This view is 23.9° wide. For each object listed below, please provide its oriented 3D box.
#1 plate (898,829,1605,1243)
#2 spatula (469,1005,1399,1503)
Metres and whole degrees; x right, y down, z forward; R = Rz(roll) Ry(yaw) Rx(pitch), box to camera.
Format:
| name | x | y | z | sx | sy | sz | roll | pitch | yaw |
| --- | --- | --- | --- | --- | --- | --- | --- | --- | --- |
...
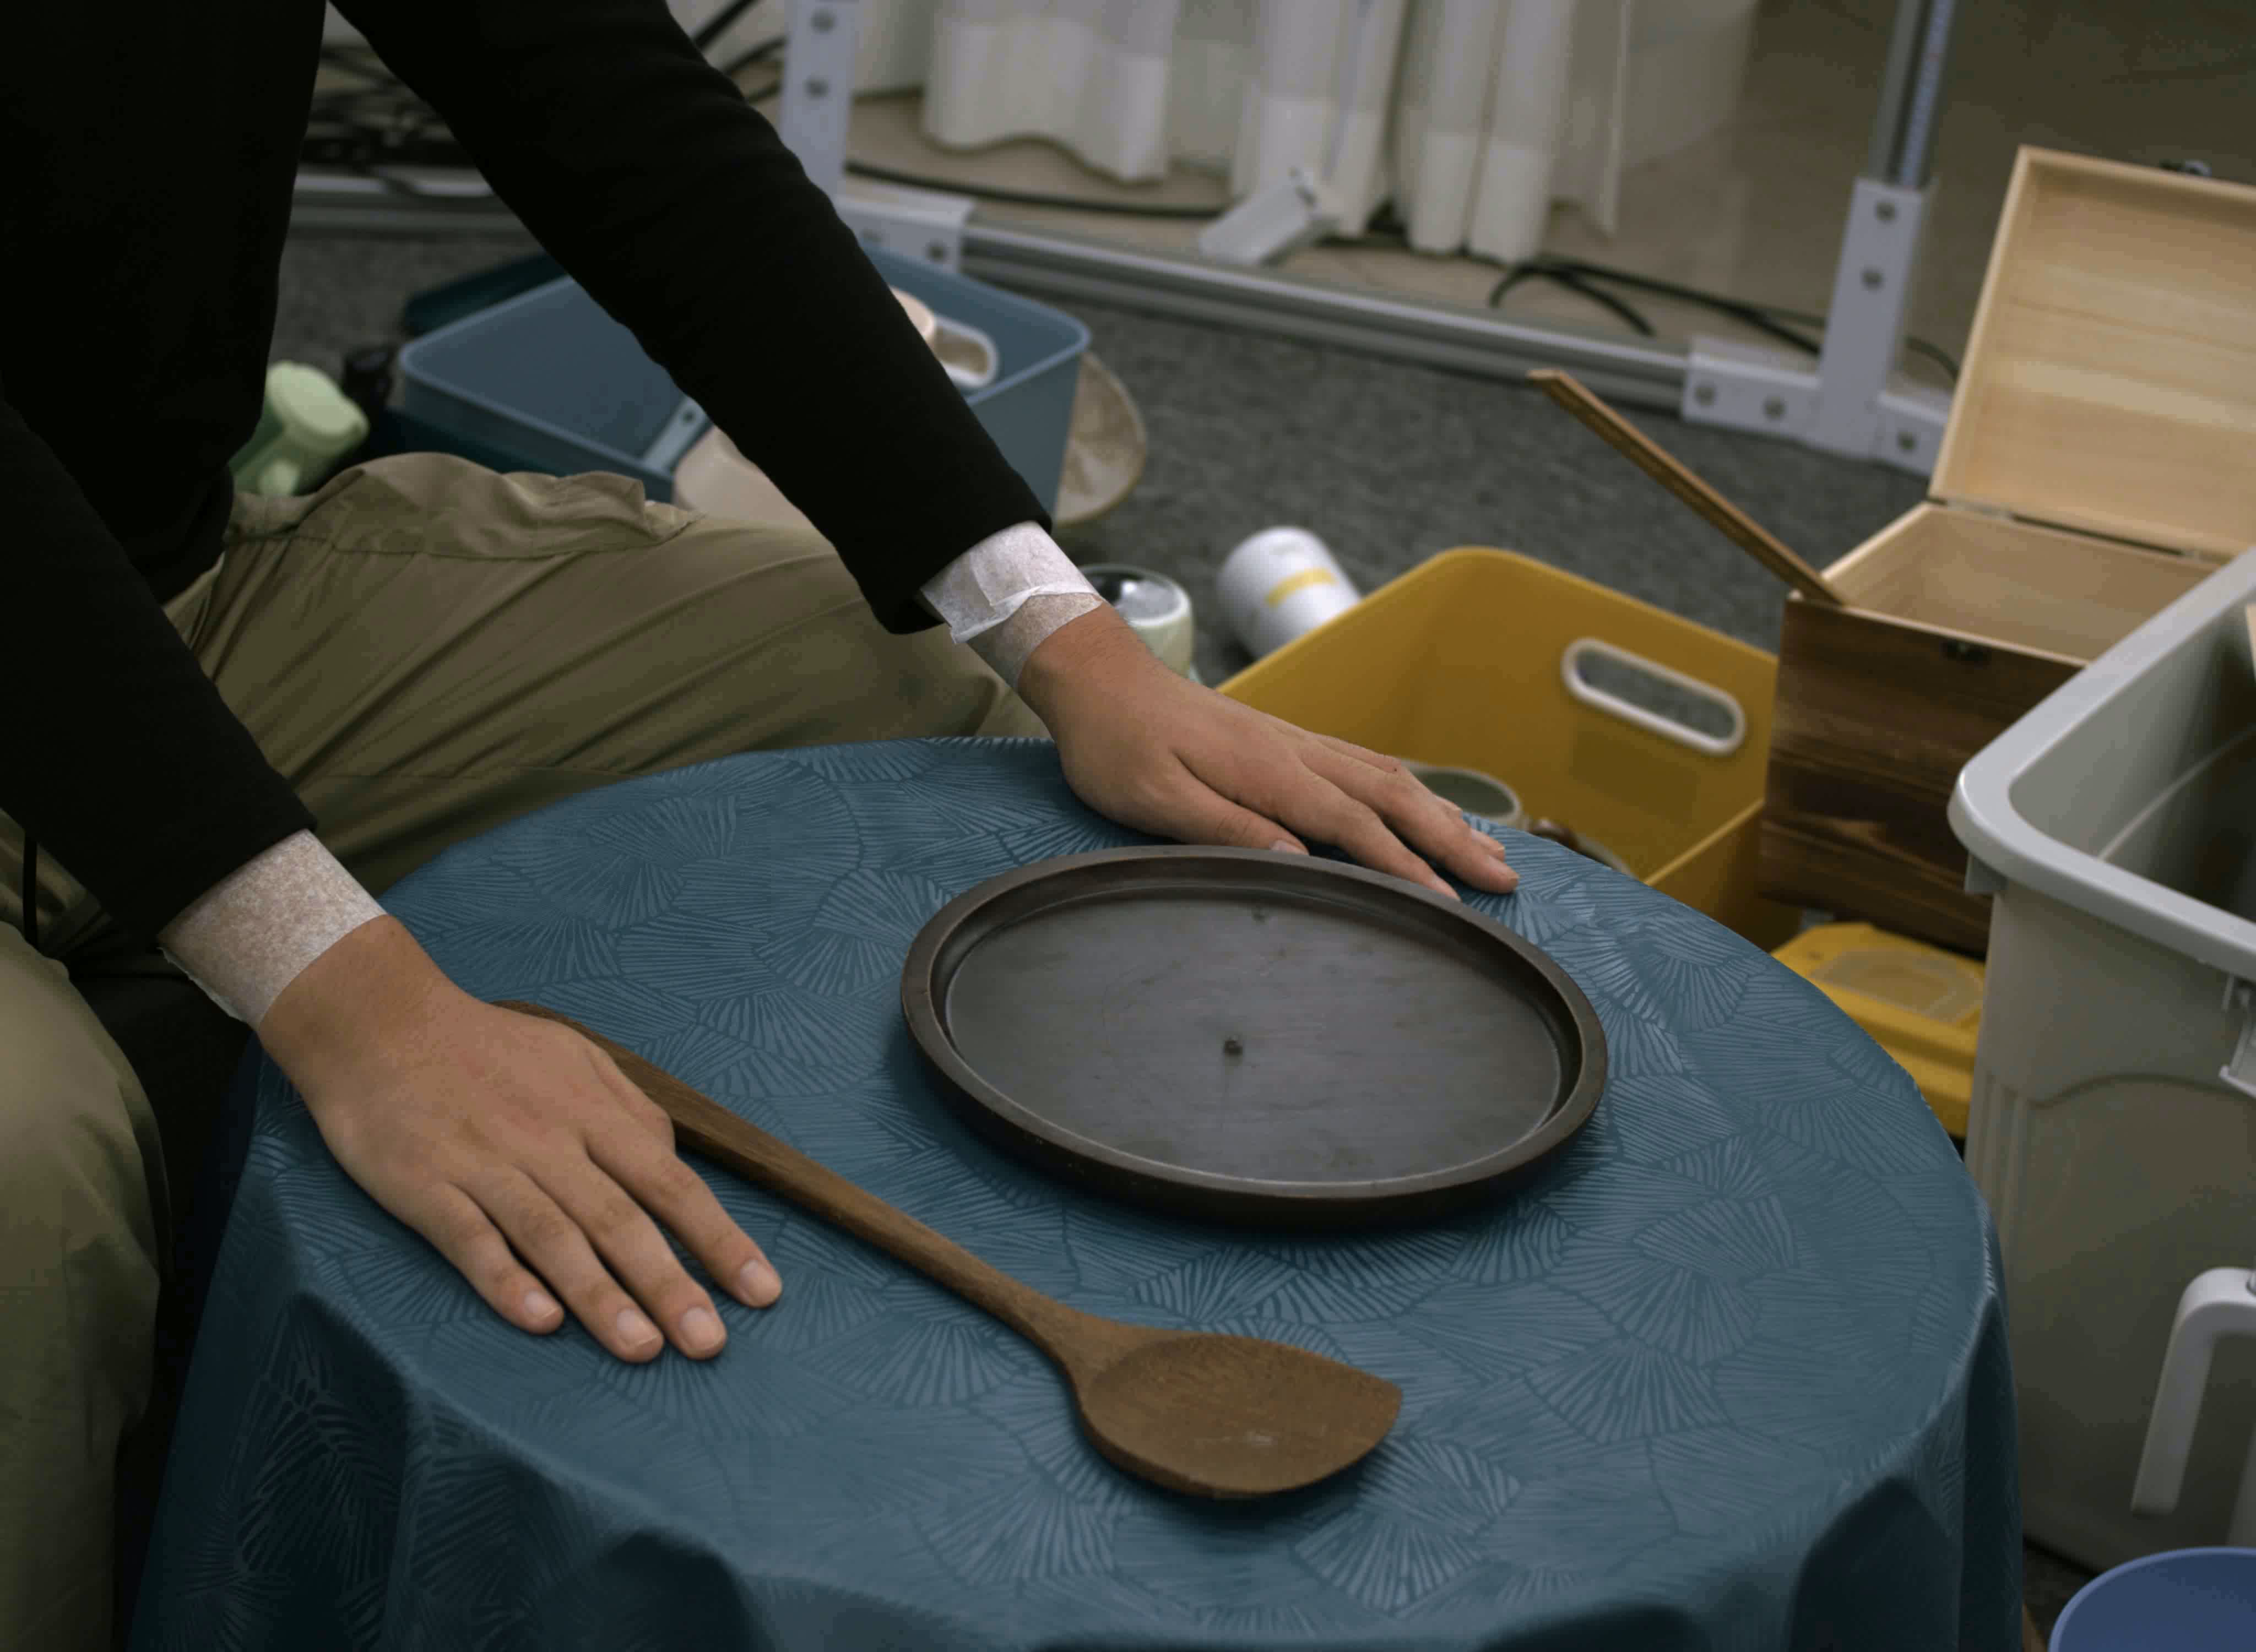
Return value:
| name | x | y | z | sx | sy | sz | roll | pitch | yaw |
| --- | --- | --- | --- | --- | --- | --- | --- | --- | --- |
| plate | 0.043 | 0.075 | 1.884 | 0.254 | 0.029 | 0.256 | 5 | 28 | -3 |
| spatula | -0.080 | 0.133 | 1.751 | 0.388 | 0.016 | 0.096 | 25 | 32 | 33 |
